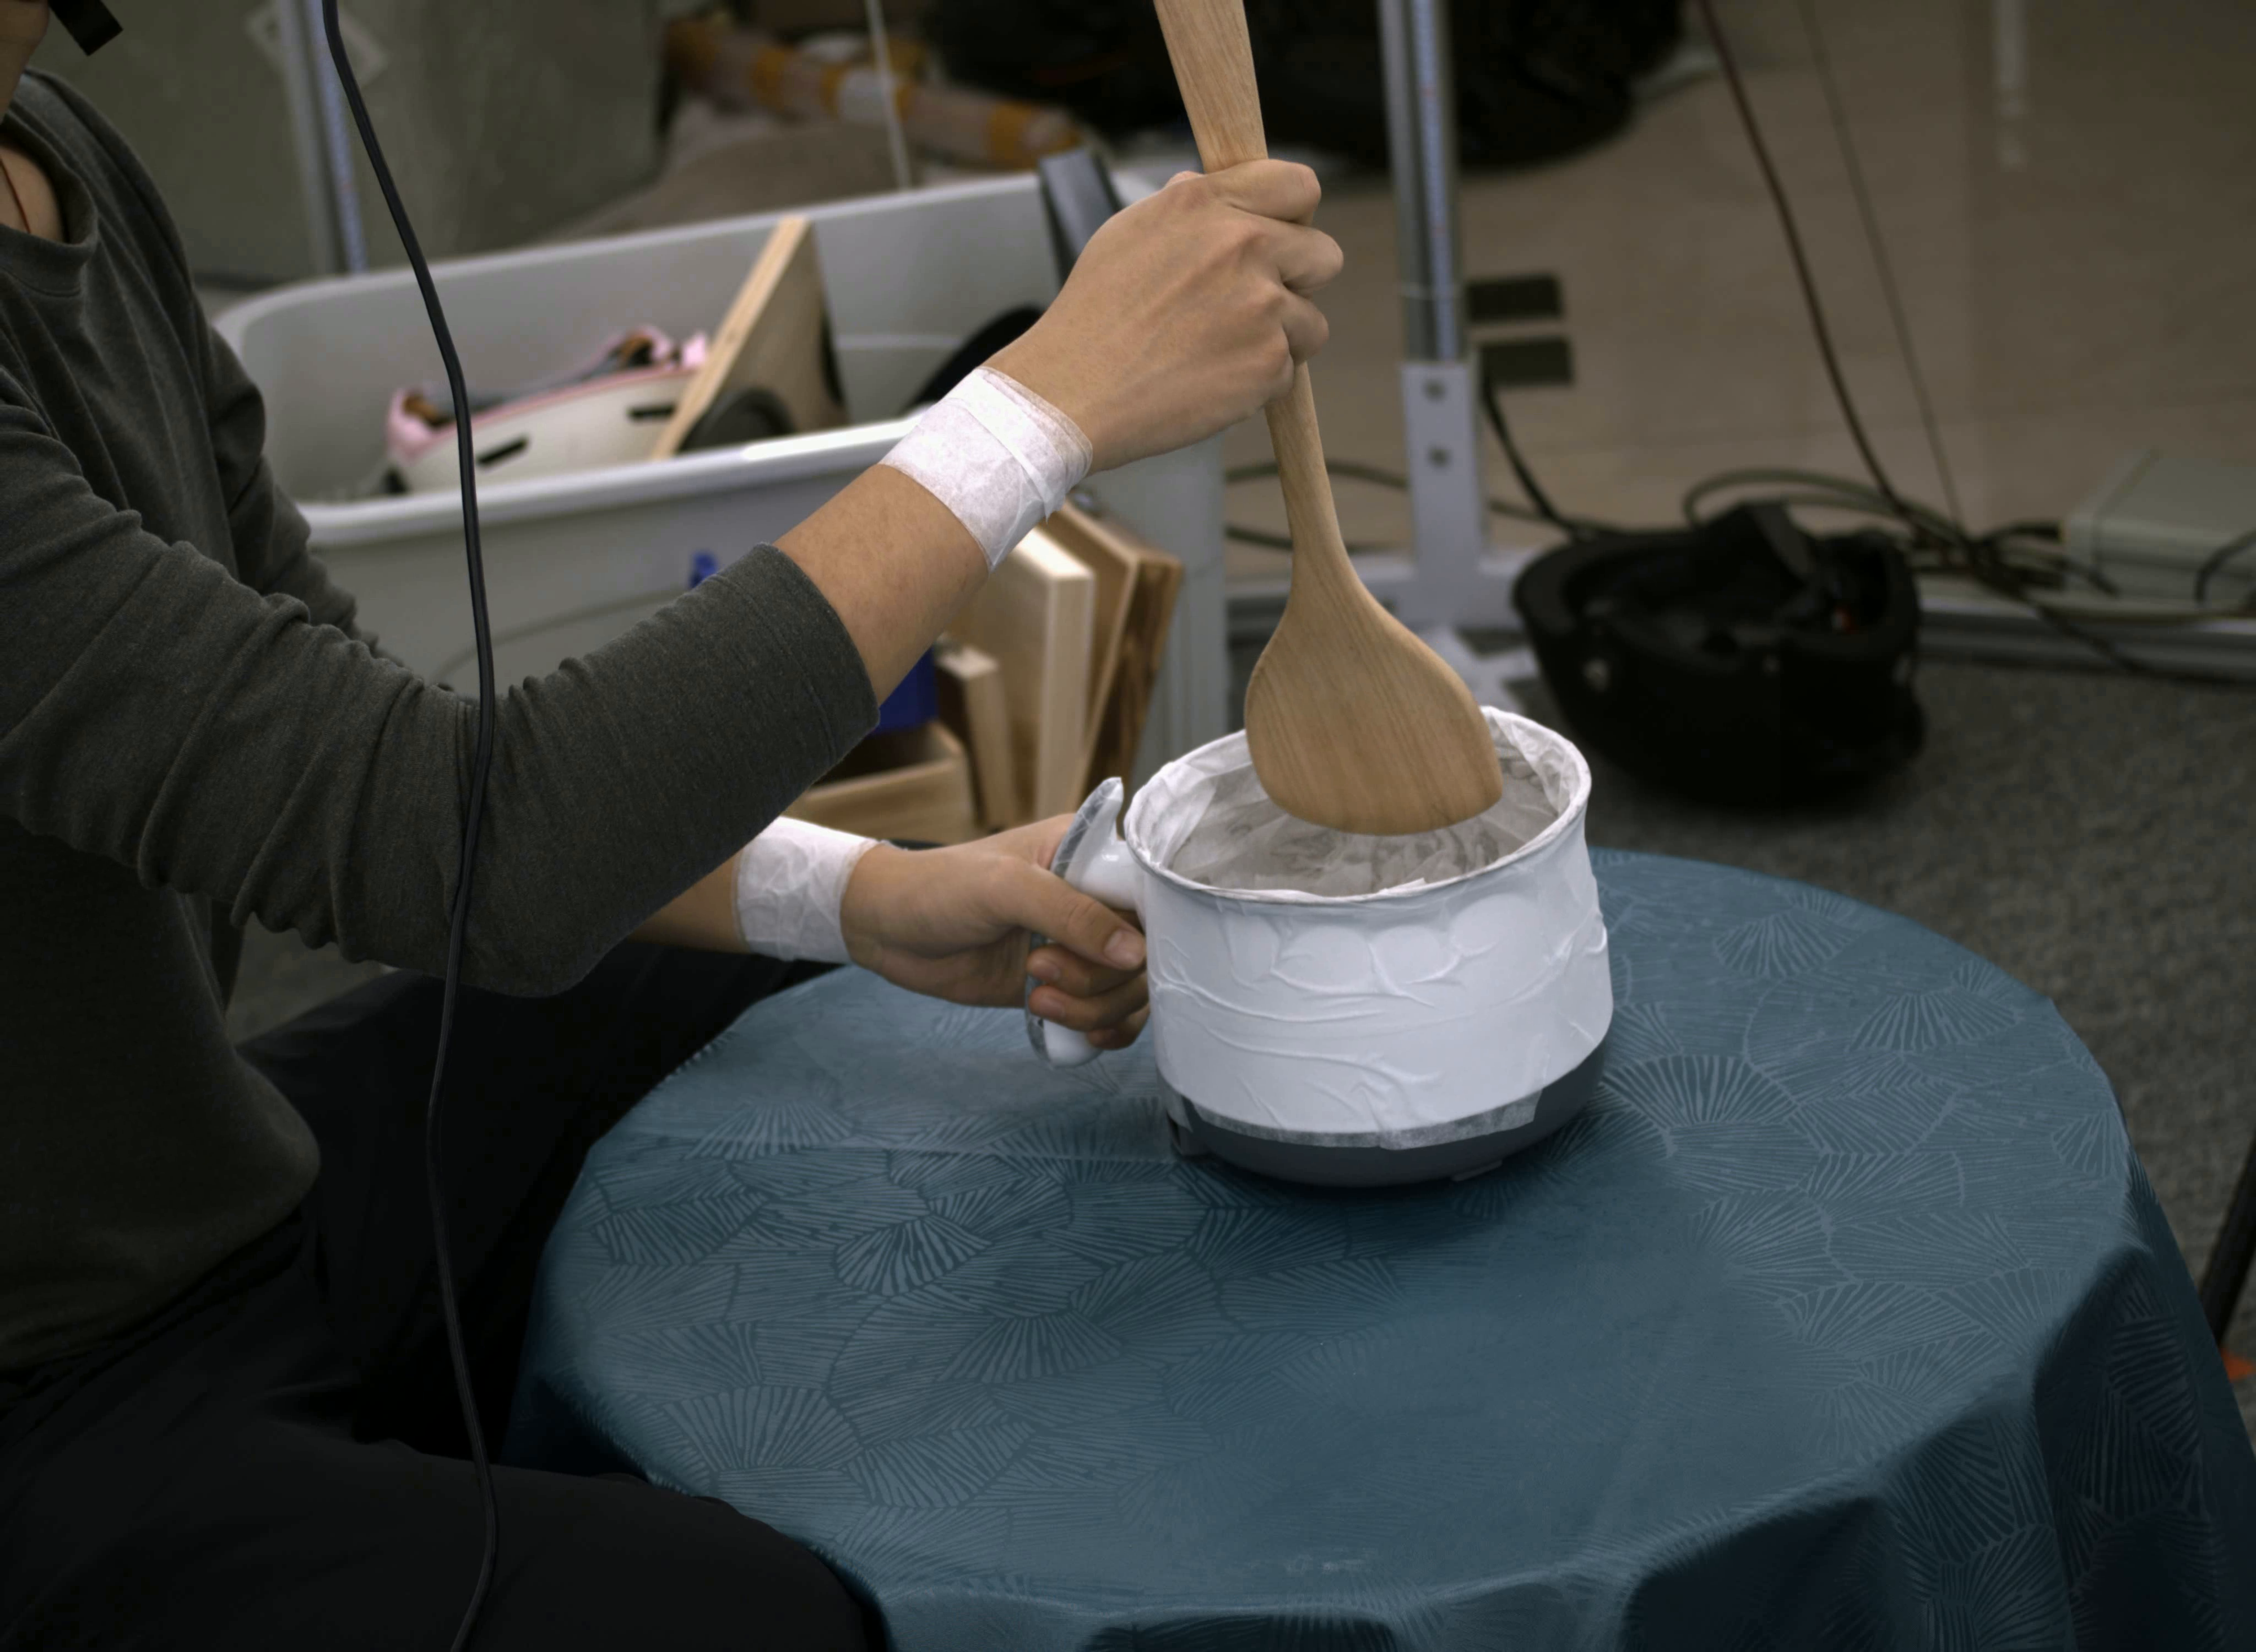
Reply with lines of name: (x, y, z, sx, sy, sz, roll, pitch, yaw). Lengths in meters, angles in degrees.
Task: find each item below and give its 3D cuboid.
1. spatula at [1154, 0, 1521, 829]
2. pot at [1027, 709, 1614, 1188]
spatula: (0.061, -0.163, 2.033, 0.095, 0.397, 0.018, -4, 31, 17)
pot: (0.068, 0.047, 2.169, 0.233, 0.139, 0.176, 1, 26, 20)
